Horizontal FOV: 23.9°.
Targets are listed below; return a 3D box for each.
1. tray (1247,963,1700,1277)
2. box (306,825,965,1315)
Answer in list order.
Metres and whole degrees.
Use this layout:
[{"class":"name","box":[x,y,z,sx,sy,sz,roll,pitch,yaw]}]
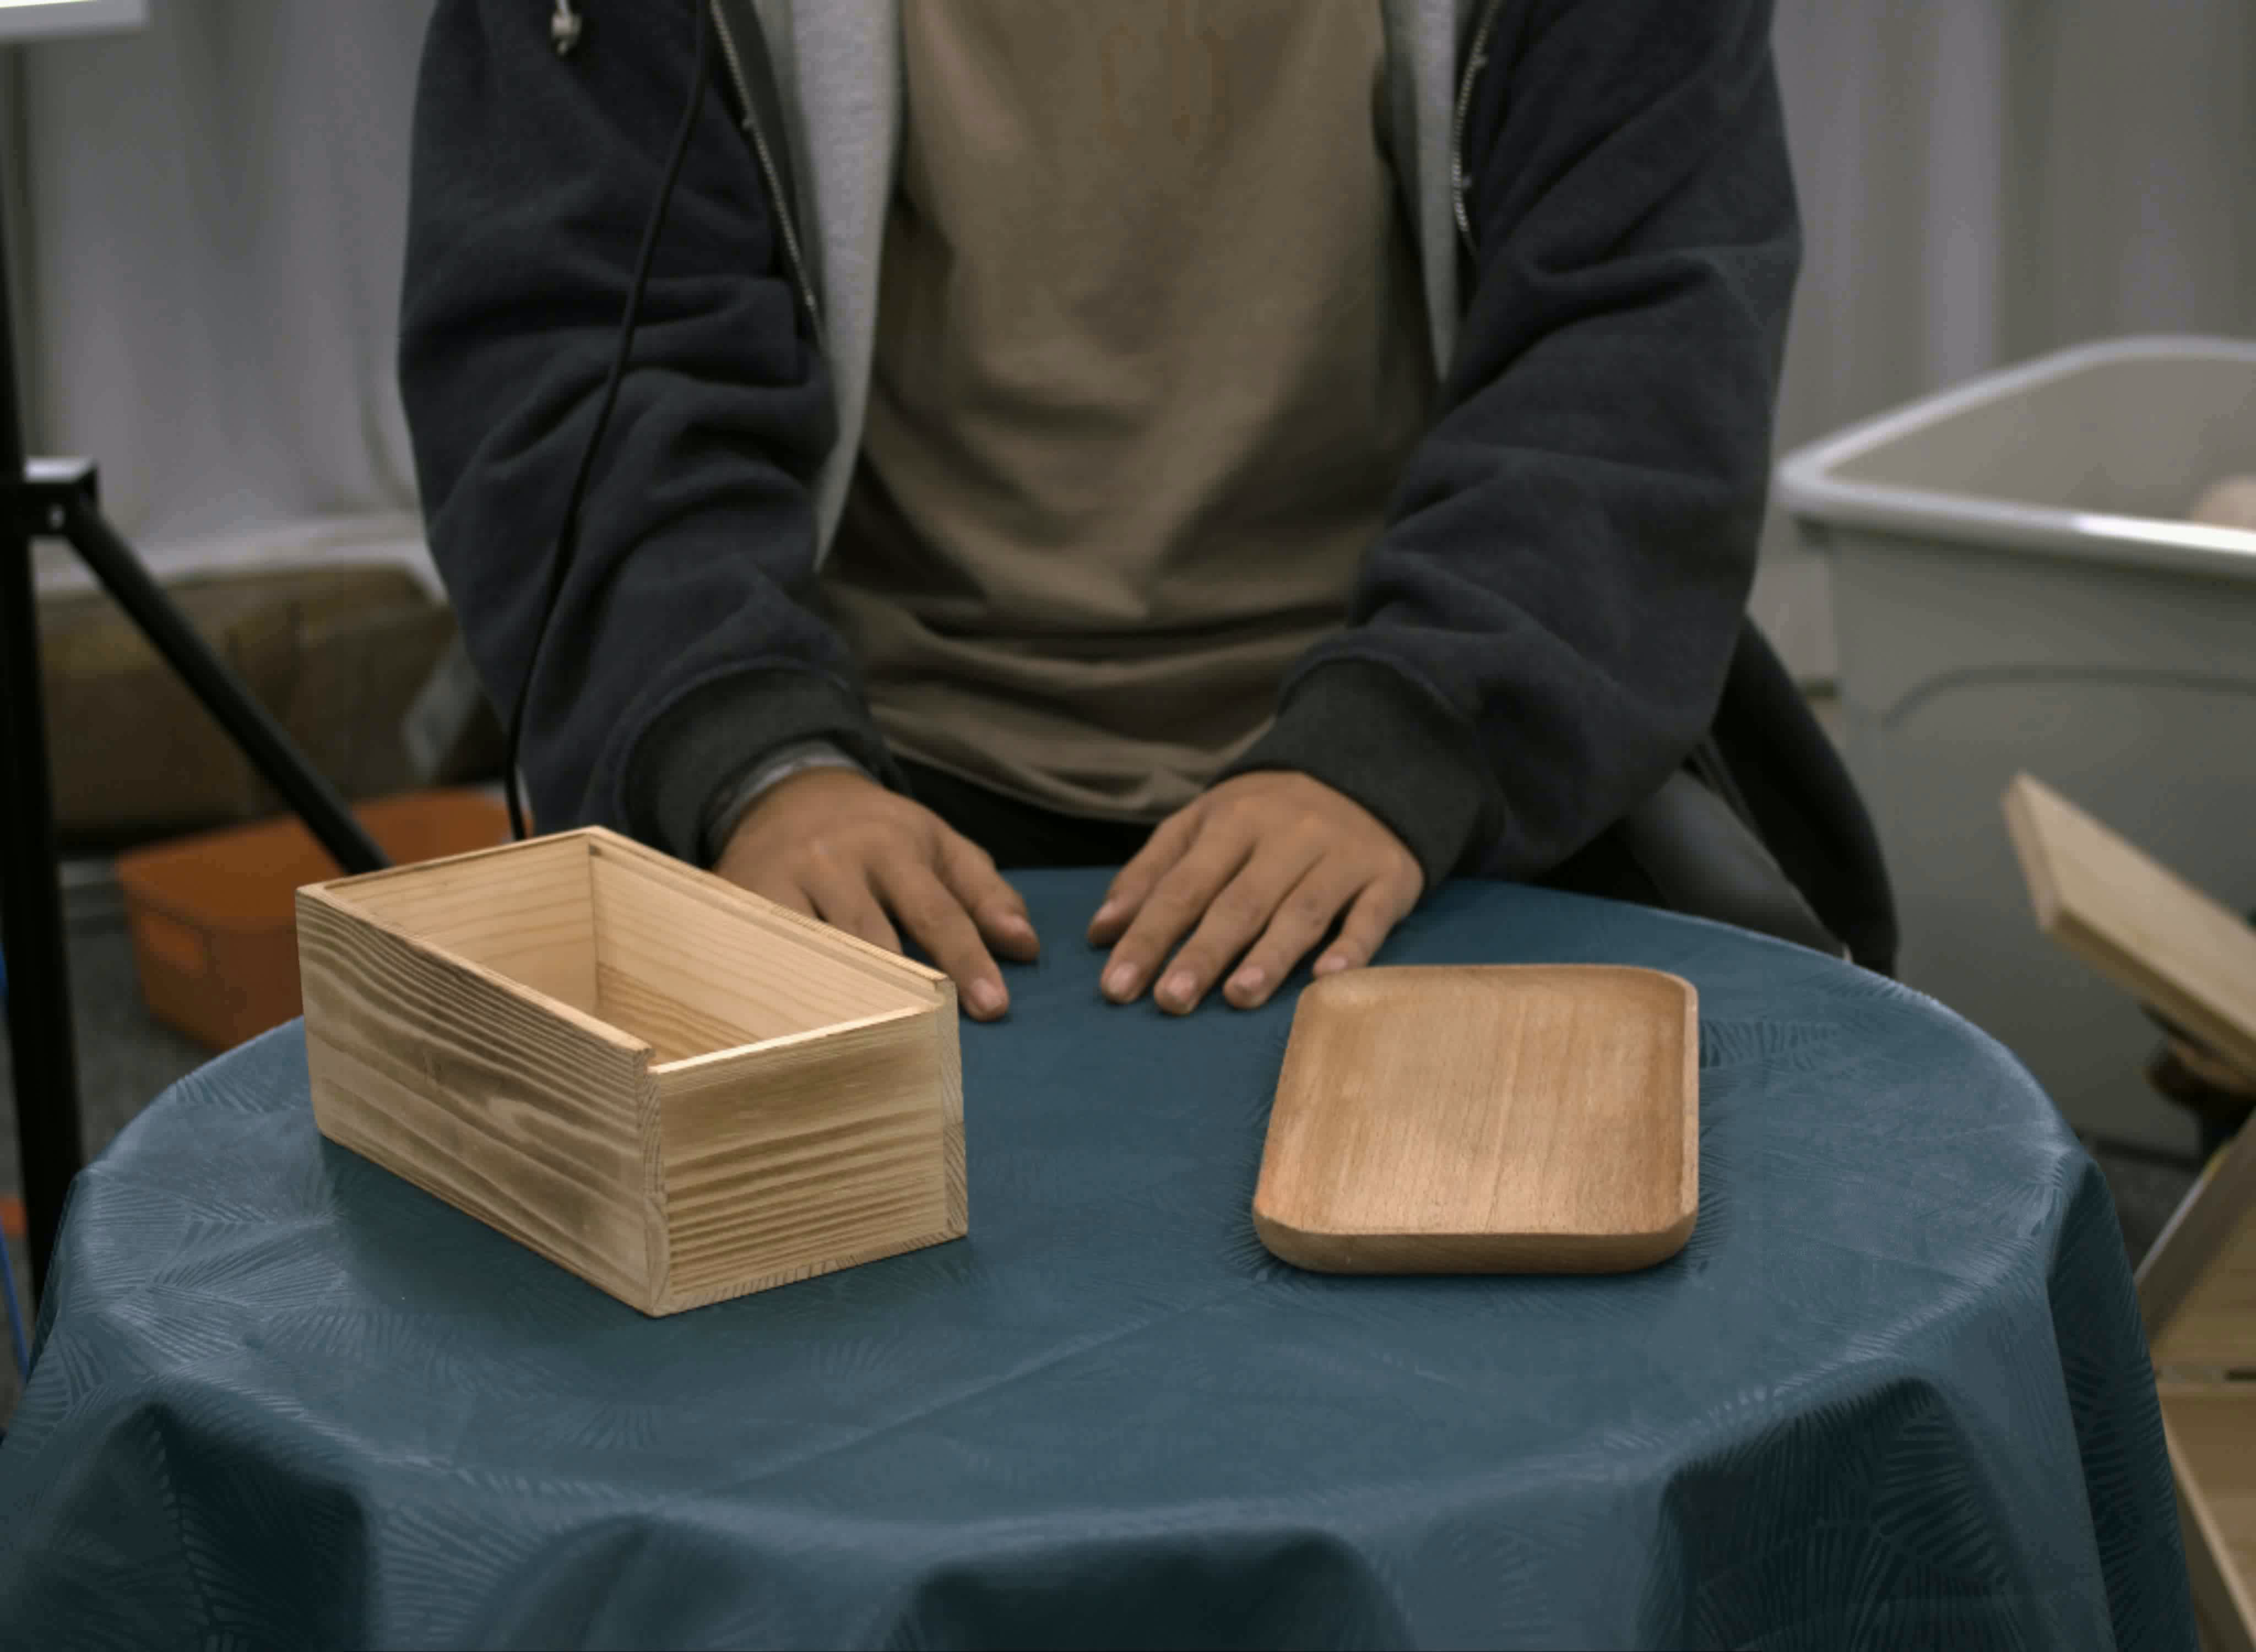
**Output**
[{"class":"tray","box":[0.107,0.086,1.590,0.131,0.023,0.250,2,16,6]},{"class":"box","box":[-0.149,0.068,1.581,0.105,0.080,0.216,-12,18,-31]}]
